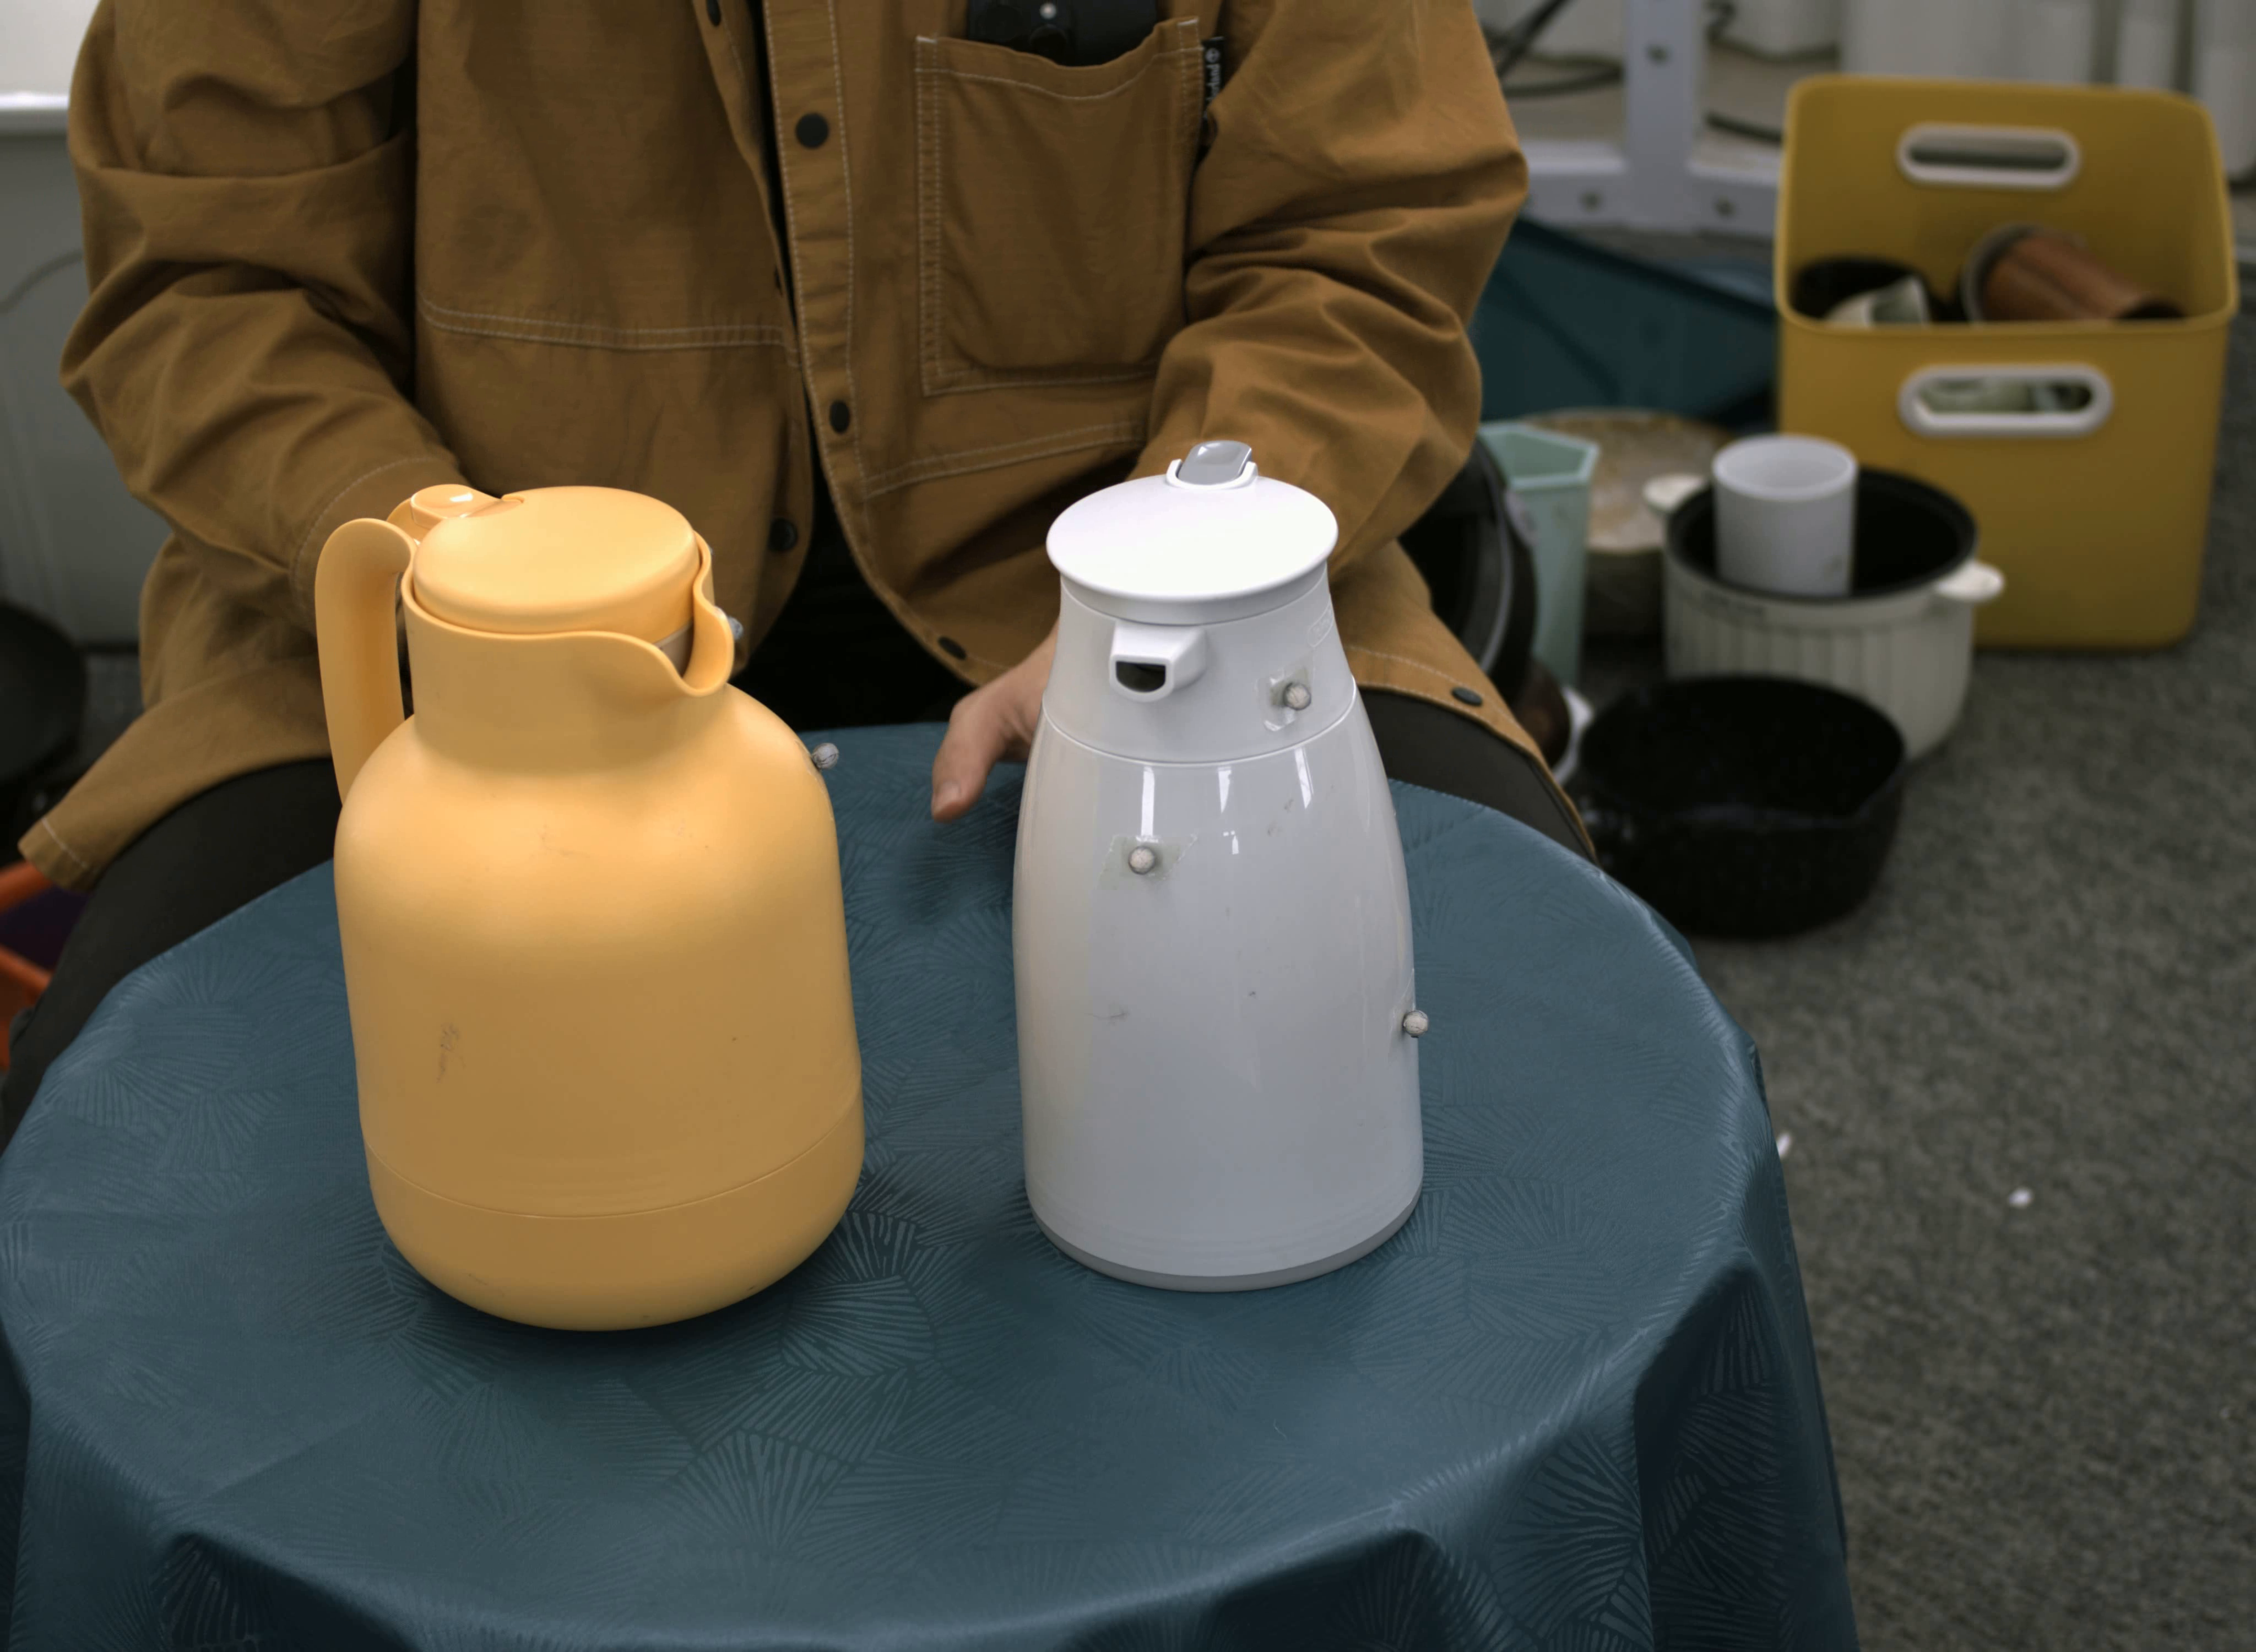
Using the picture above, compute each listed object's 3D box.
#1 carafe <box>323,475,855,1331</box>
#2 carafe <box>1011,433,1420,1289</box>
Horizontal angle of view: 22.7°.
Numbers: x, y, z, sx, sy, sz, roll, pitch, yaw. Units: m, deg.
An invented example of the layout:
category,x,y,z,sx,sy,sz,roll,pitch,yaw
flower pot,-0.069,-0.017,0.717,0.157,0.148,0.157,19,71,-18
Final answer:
category,x,y,z,sx,sy,sz,roll,pitch,yaw
carafe,-0.184,0.014,1.805,0.165,0.258,0.202,-21,33,-37
carafe,0.029,0.000,1.823,0.131,0.246,0.170,4,27,15
